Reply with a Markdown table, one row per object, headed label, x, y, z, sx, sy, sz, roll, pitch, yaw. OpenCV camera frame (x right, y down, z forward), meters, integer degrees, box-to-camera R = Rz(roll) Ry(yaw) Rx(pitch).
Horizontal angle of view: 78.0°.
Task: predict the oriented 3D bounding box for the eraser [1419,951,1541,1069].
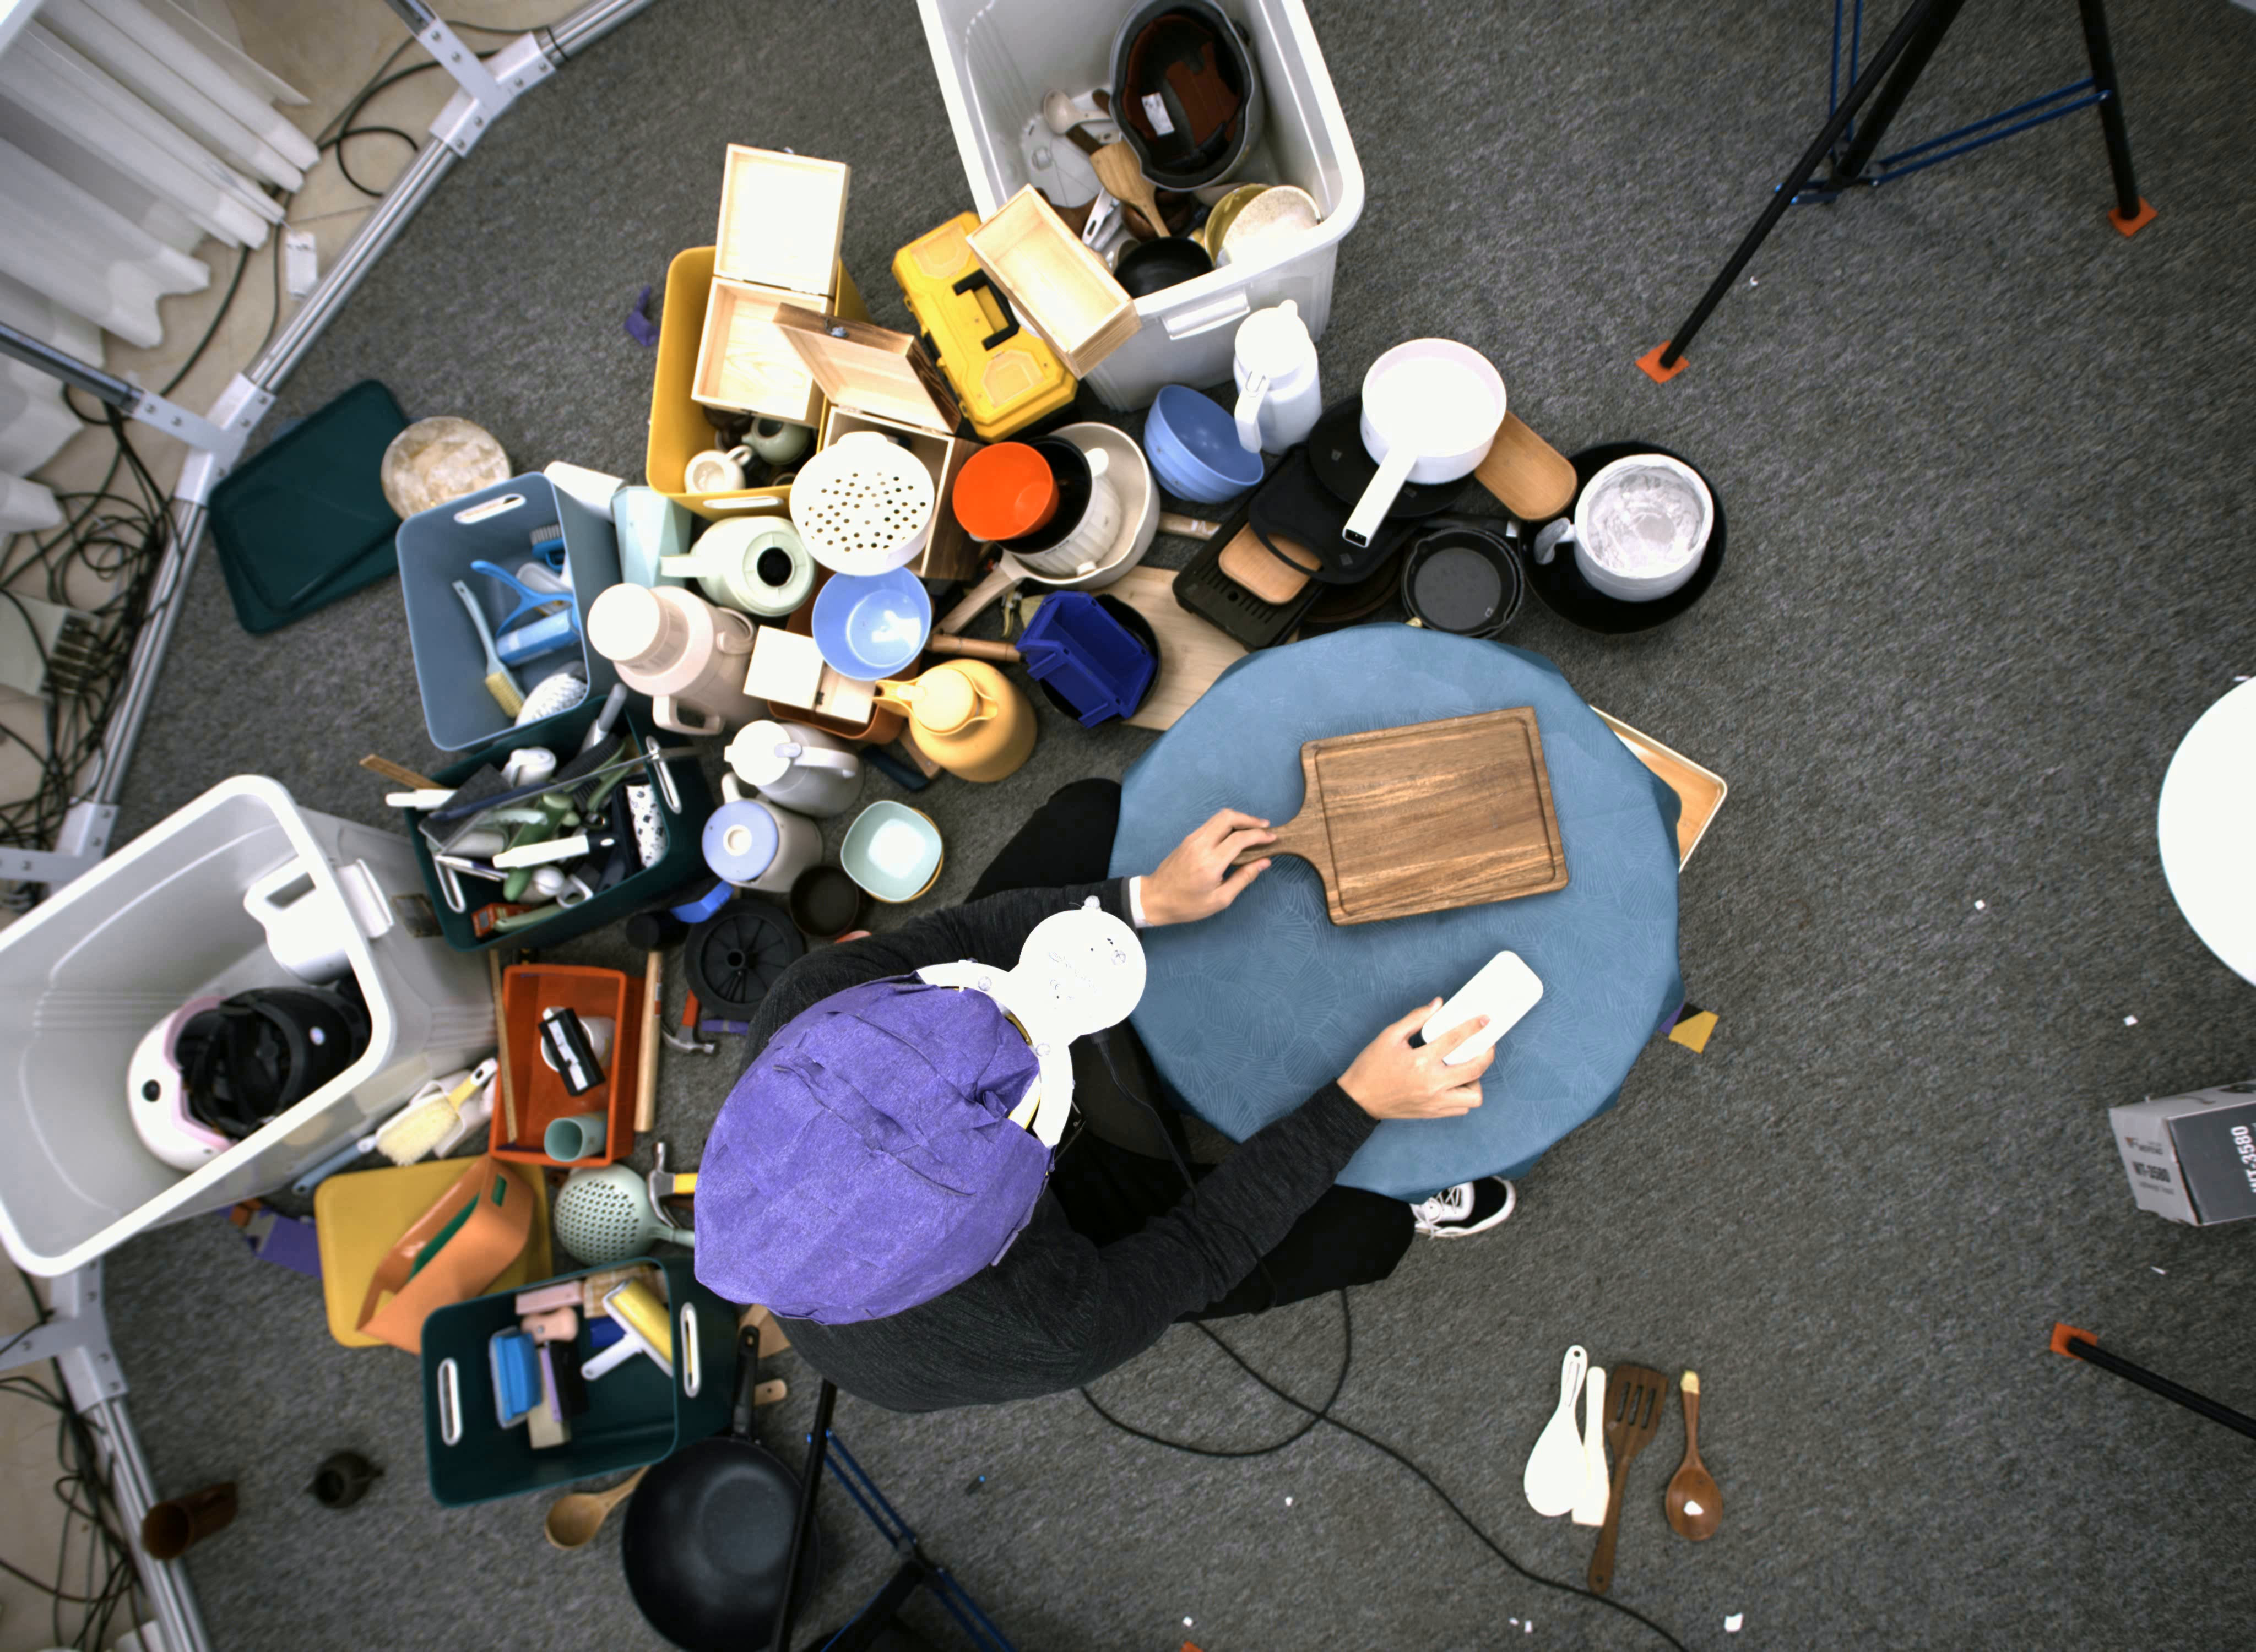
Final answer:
| label | x | y | z | sx | sy | sz | roll | pitch | yaw |
| --- | --- | --- | --- | --- | --- | --- | --- | --- | --- |
| eraser | 0.356 | 0.183 | 1.398 | 0.130 | 0.035 | 0.063 | -40 | 84 | -8 |

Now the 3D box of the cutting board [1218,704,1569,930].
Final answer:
| label | x | y | z | sx | sy | sz | roll | pitch | yaw |
| --- | --- | --- | --- | --- | --- | --- | --- | --- | --- |
| cutting board | 0.266 | -0.003 | 1.426 | 0.352 | 0.023 | 0.200 | -10 | 85 | 0 |
